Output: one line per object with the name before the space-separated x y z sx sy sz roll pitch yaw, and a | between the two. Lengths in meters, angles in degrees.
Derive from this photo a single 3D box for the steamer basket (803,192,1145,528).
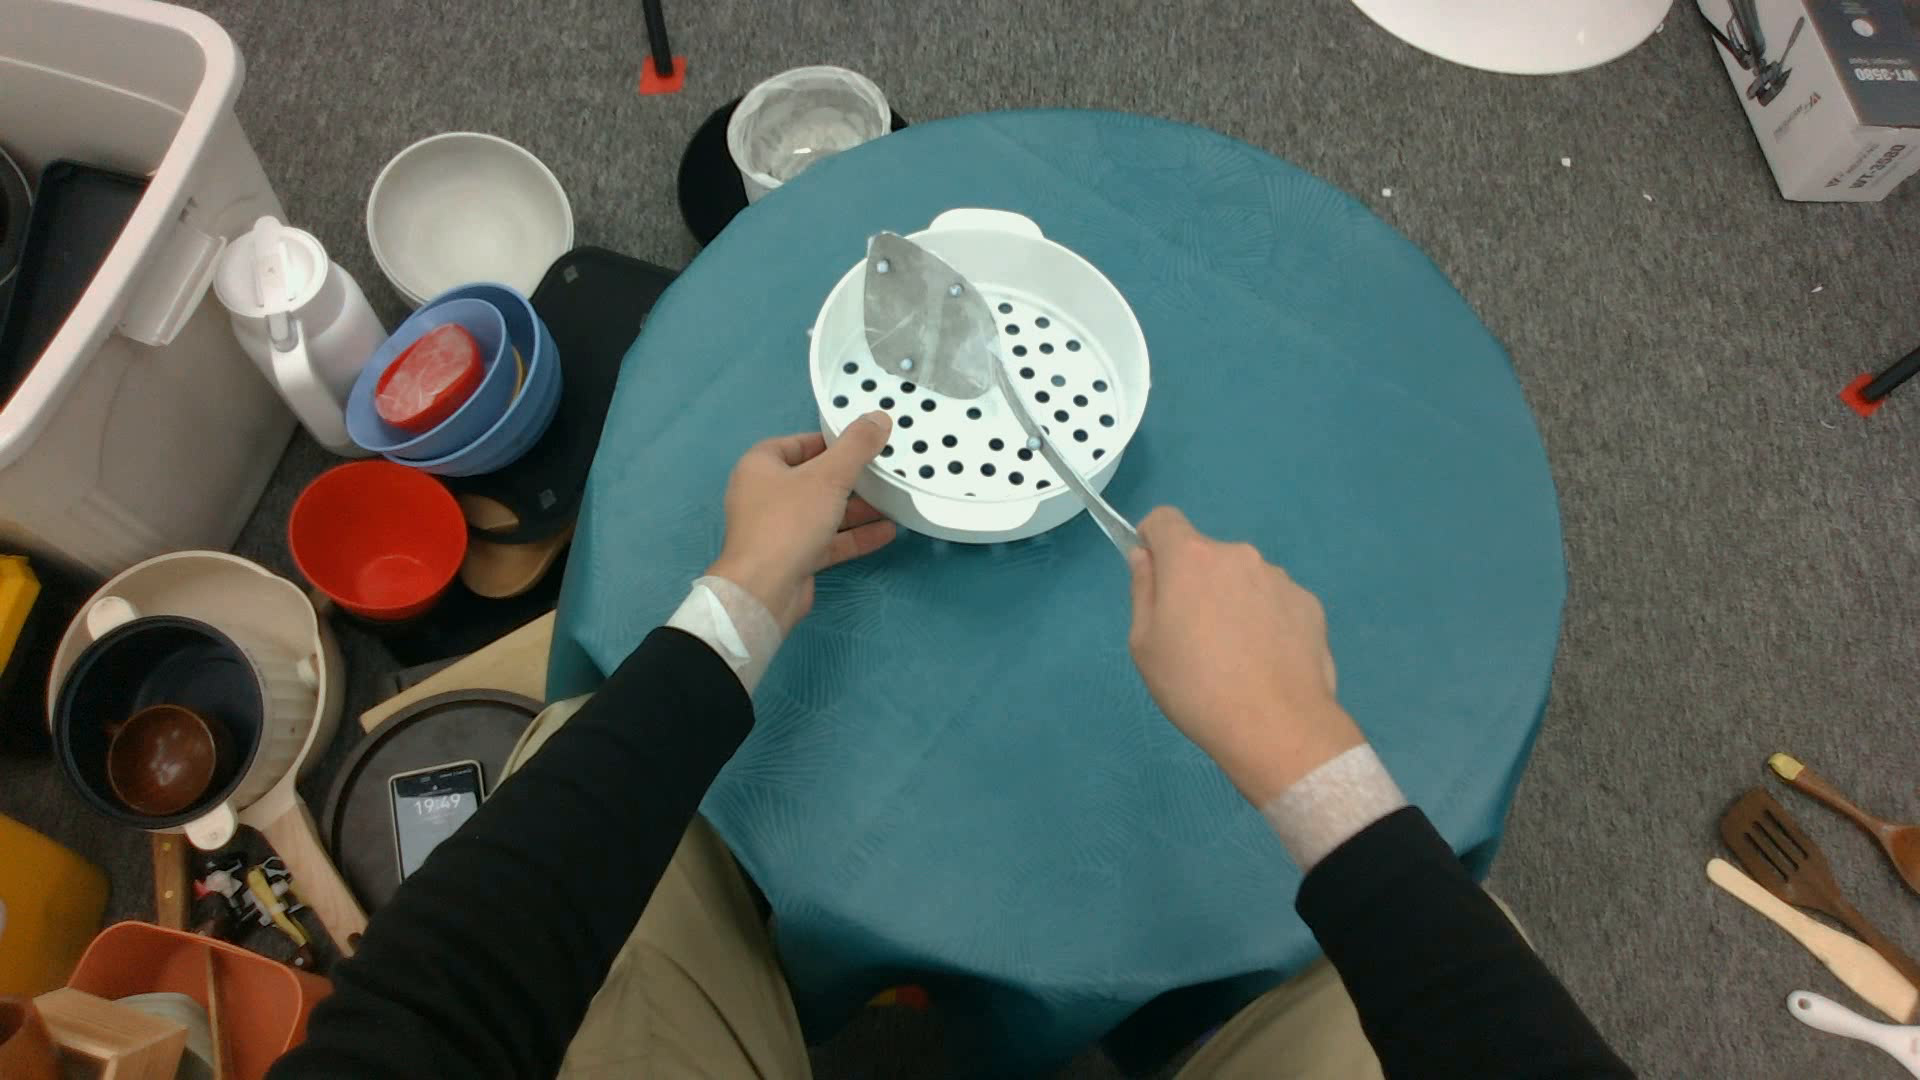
steamer basket | 0.007 -0.103 0.836 0.202 0.069 0.231 5 63 -2

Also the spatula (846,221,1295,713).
spatula | 0.046 -0.041 0.724 0.045 0.098 0.365 -18 52 -27
